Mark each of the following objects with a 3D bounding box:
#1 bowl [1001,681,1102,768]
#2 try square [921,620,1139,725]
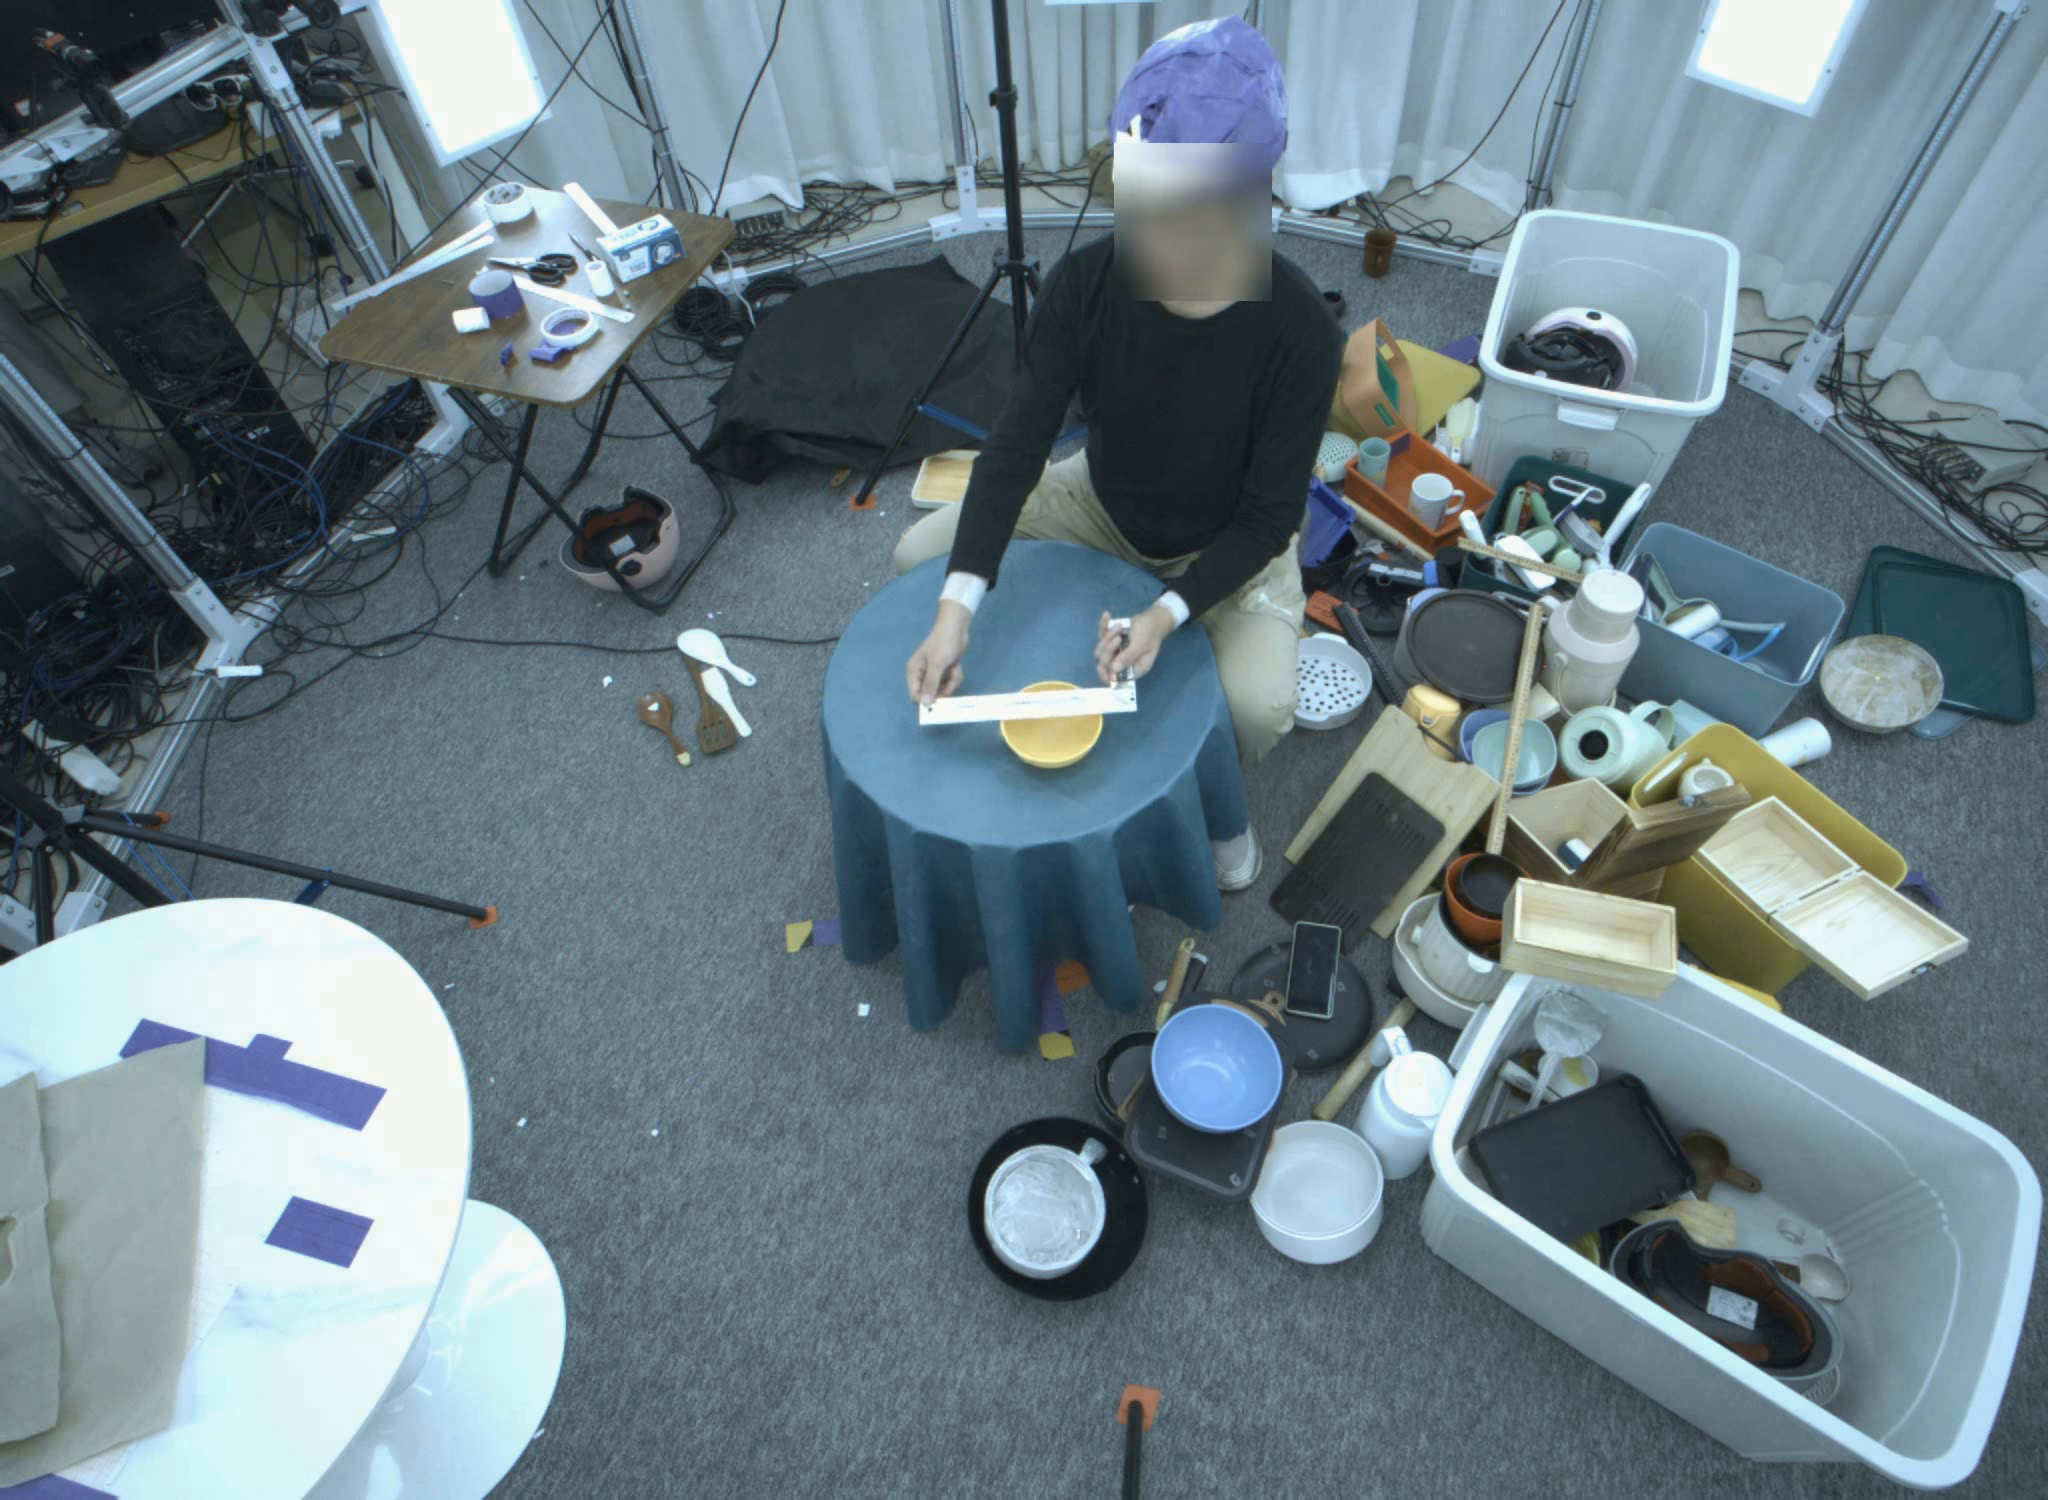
[{"bbox_3d":[0.039,-0.025,1.771,0.145,0.060,0.144,1,54,0],"label":"bowl"},{"bbox_3d":[0.006,-0.112,1.777,0.313,0.016,0.151,-4,62,1],"label":"try square"}]
